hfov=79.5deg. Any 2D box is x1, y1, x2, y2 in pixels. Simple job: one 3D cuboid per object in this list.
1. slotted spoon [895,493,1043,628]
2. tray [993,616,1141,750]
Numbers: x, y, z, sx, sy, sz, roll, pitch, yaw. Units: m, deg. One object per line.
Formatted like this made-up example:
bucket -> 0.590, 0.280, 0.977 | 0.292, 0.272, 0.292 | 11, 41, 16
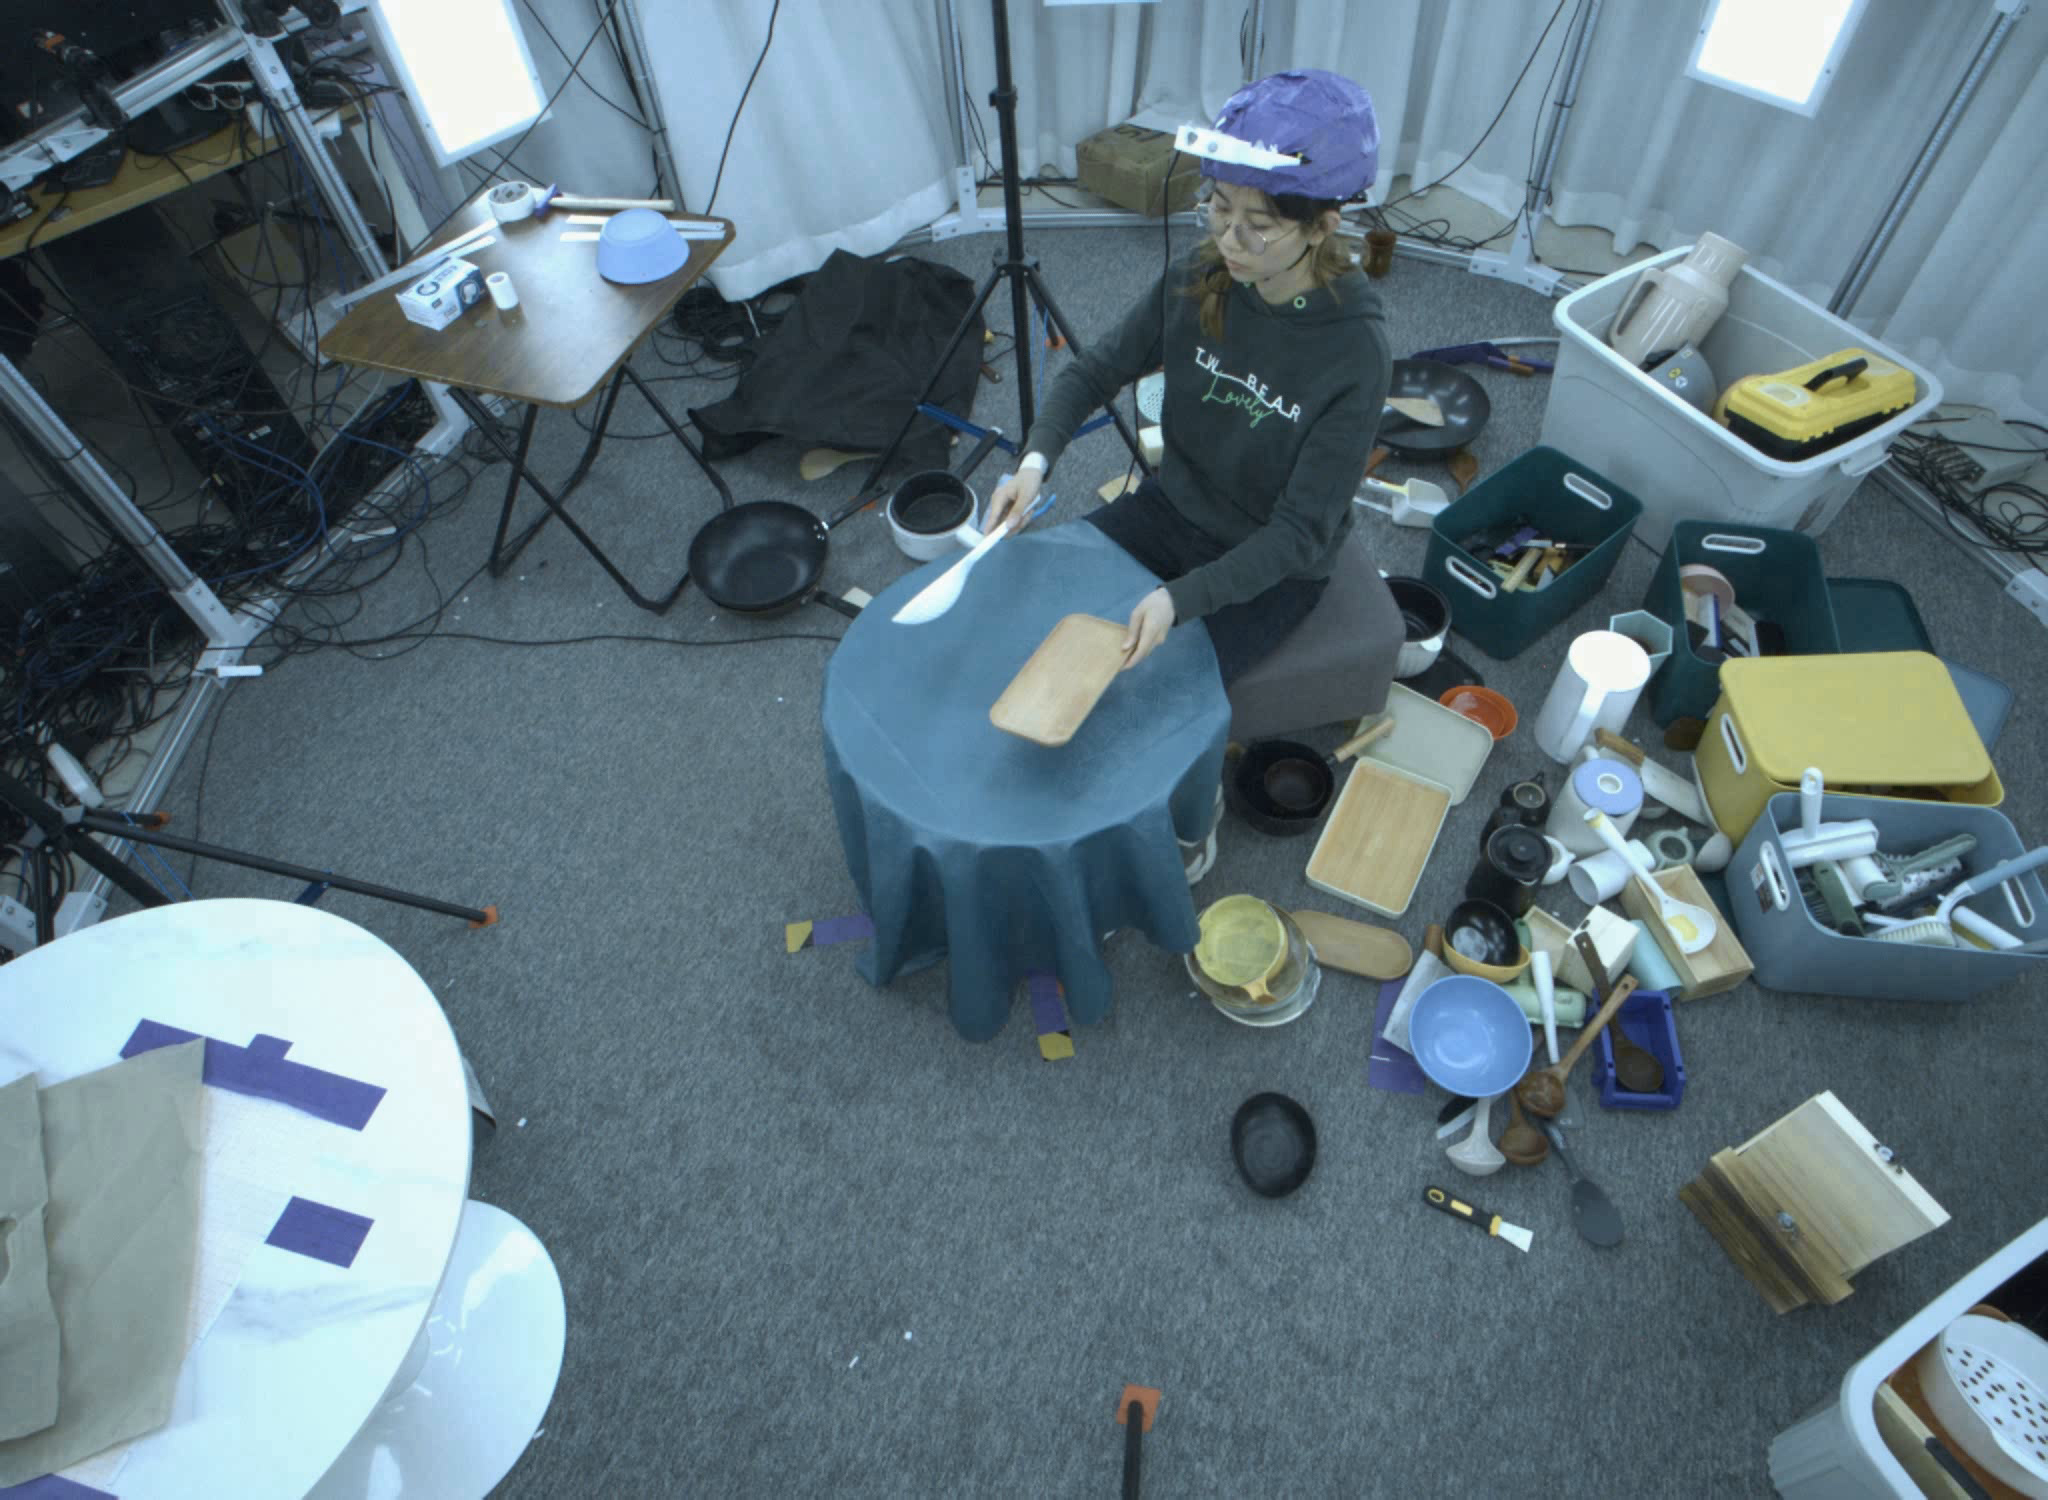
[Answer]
slotted spoon -> -0.074, -0.289, 1.834 | 0.046, 0.134, 0.351 | 45, 55, -14
tray -> 0.064, -0.099, 1.753 | 0.128, 0.023, 0.251 | 22, 54, 21
